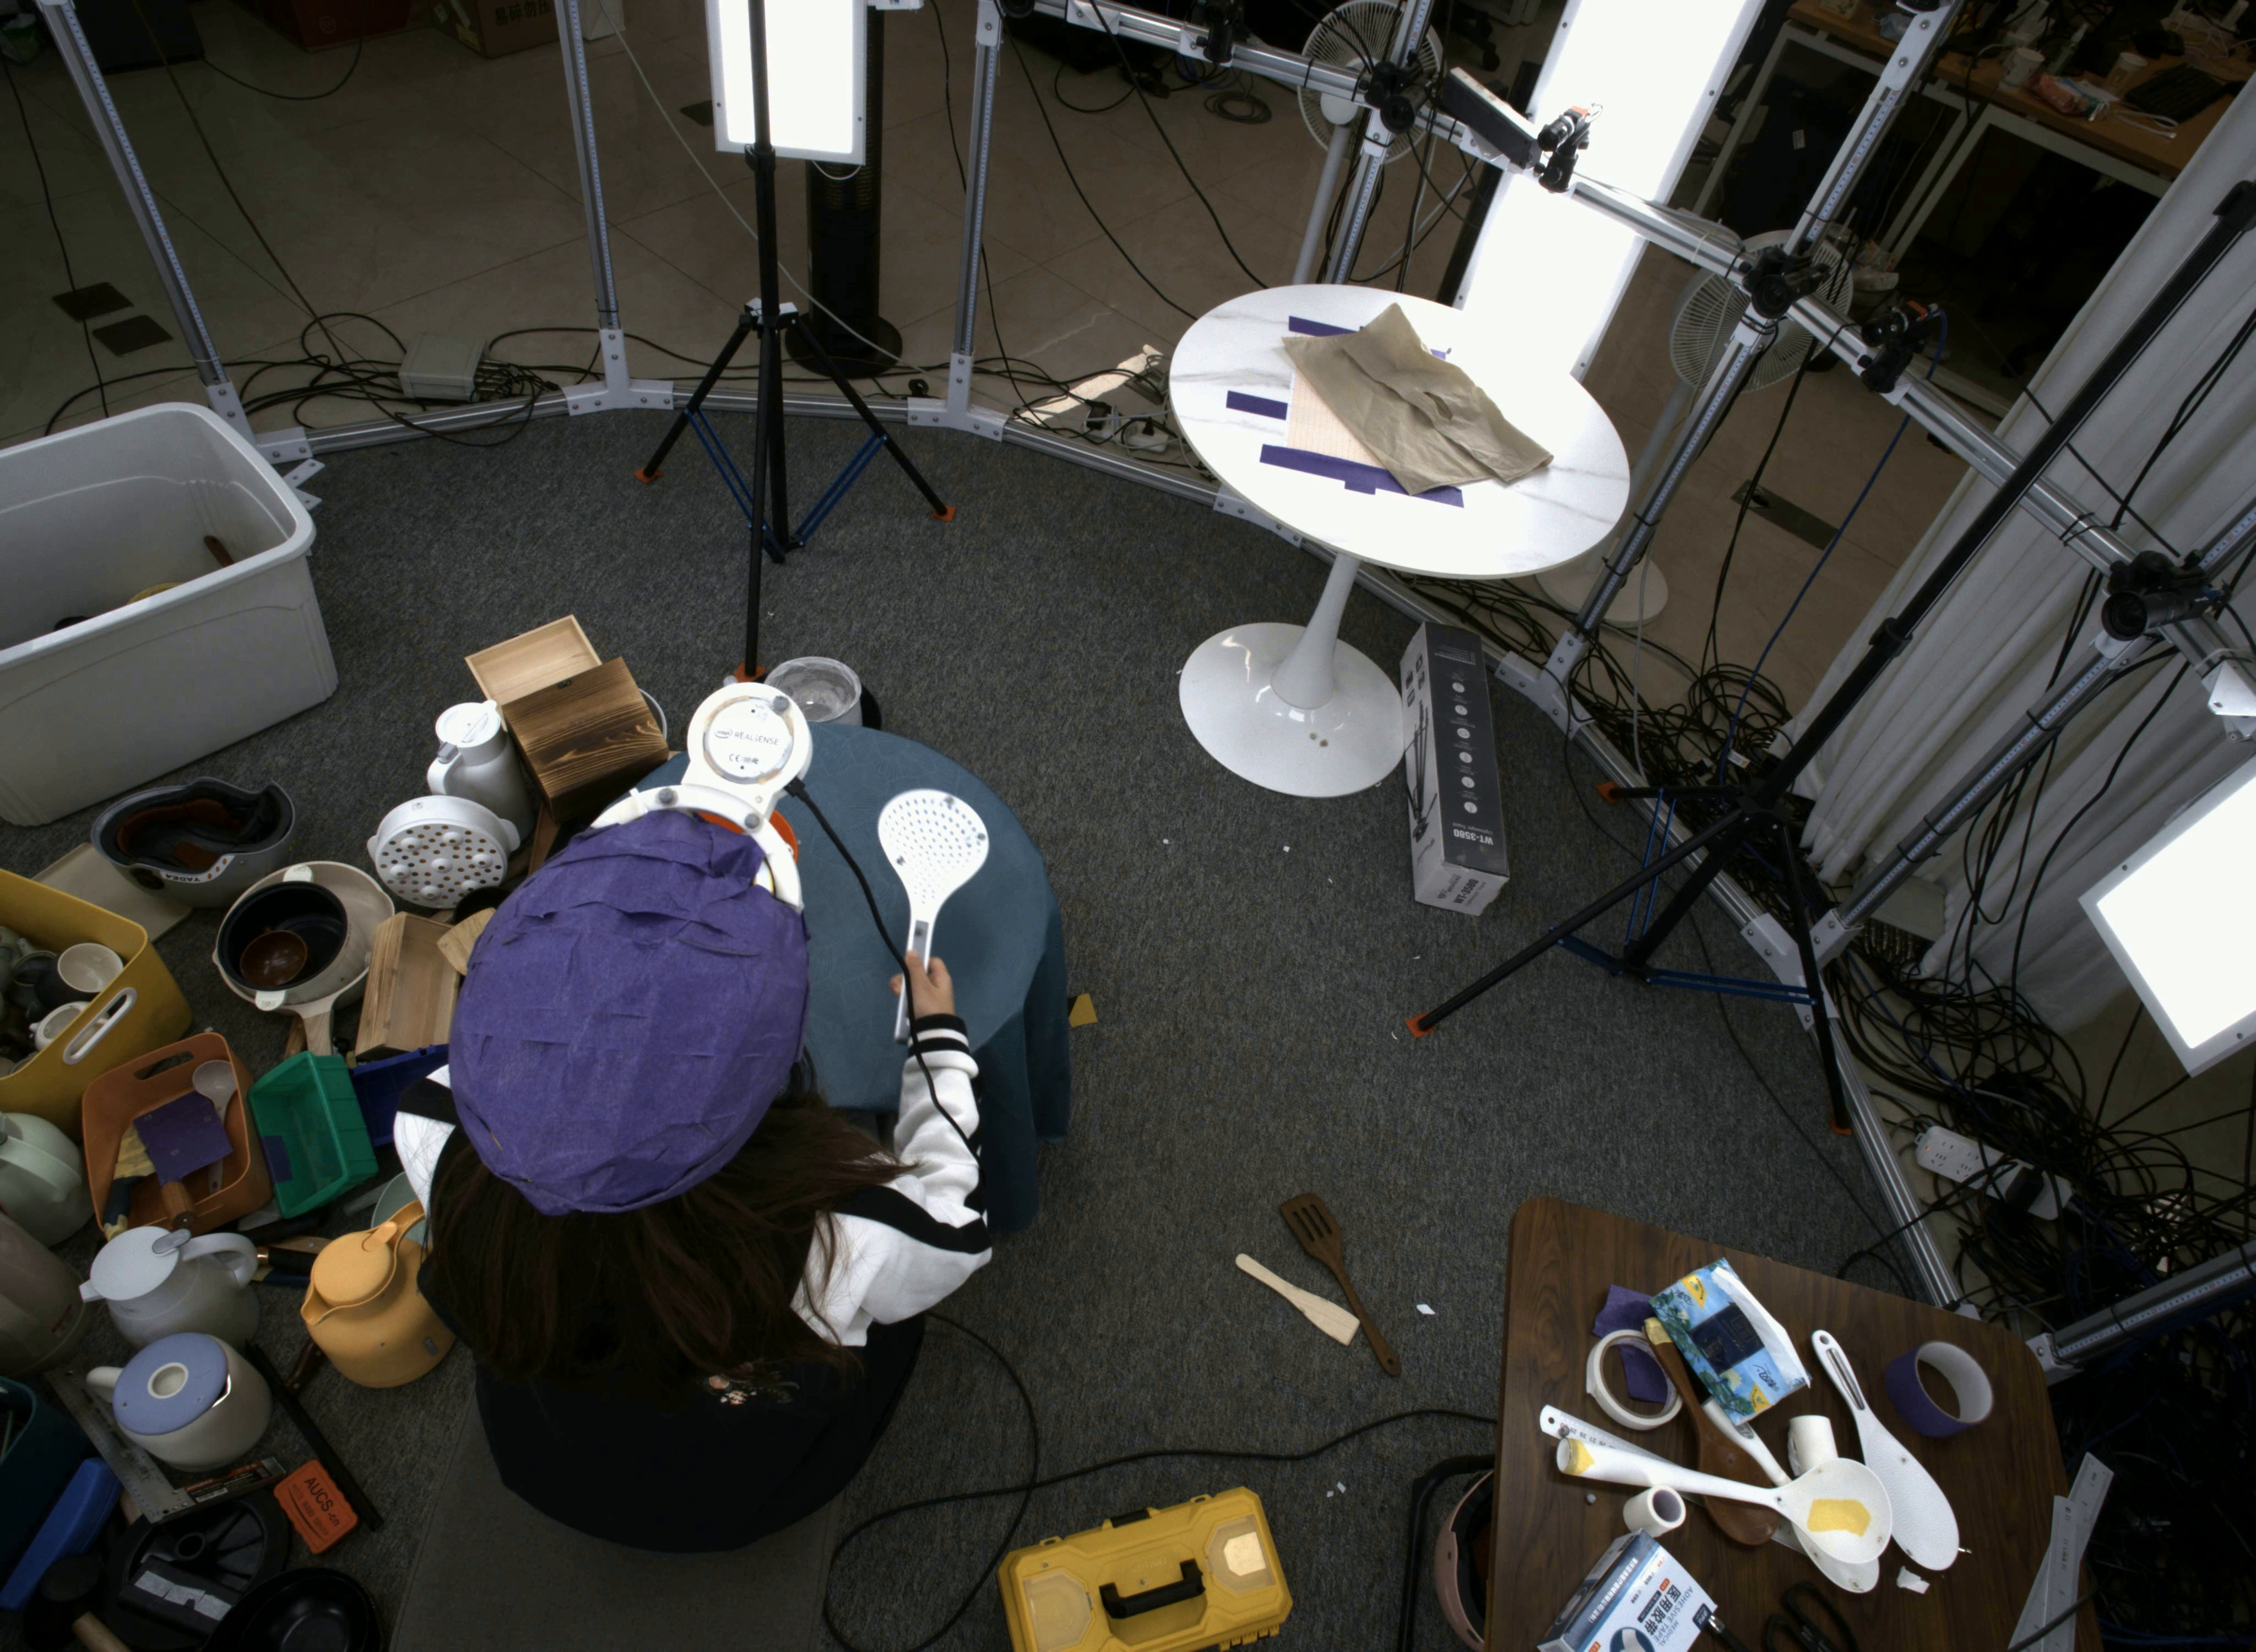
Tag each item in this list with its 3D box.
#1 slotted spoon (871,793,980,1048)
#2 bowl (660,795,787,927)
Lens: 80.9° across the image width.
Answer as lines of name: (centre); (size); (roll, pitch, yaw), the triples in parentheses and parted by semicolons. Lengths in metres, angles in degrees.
slotted spoon: (-0.248, 0.102, 1.525); (0.137, 0.046, 0.342); (13, 46, -16)
bowl: (-0.490, 0.053, 1.559); (0.149, 0.106, 0.145); (13, 50, -14)
